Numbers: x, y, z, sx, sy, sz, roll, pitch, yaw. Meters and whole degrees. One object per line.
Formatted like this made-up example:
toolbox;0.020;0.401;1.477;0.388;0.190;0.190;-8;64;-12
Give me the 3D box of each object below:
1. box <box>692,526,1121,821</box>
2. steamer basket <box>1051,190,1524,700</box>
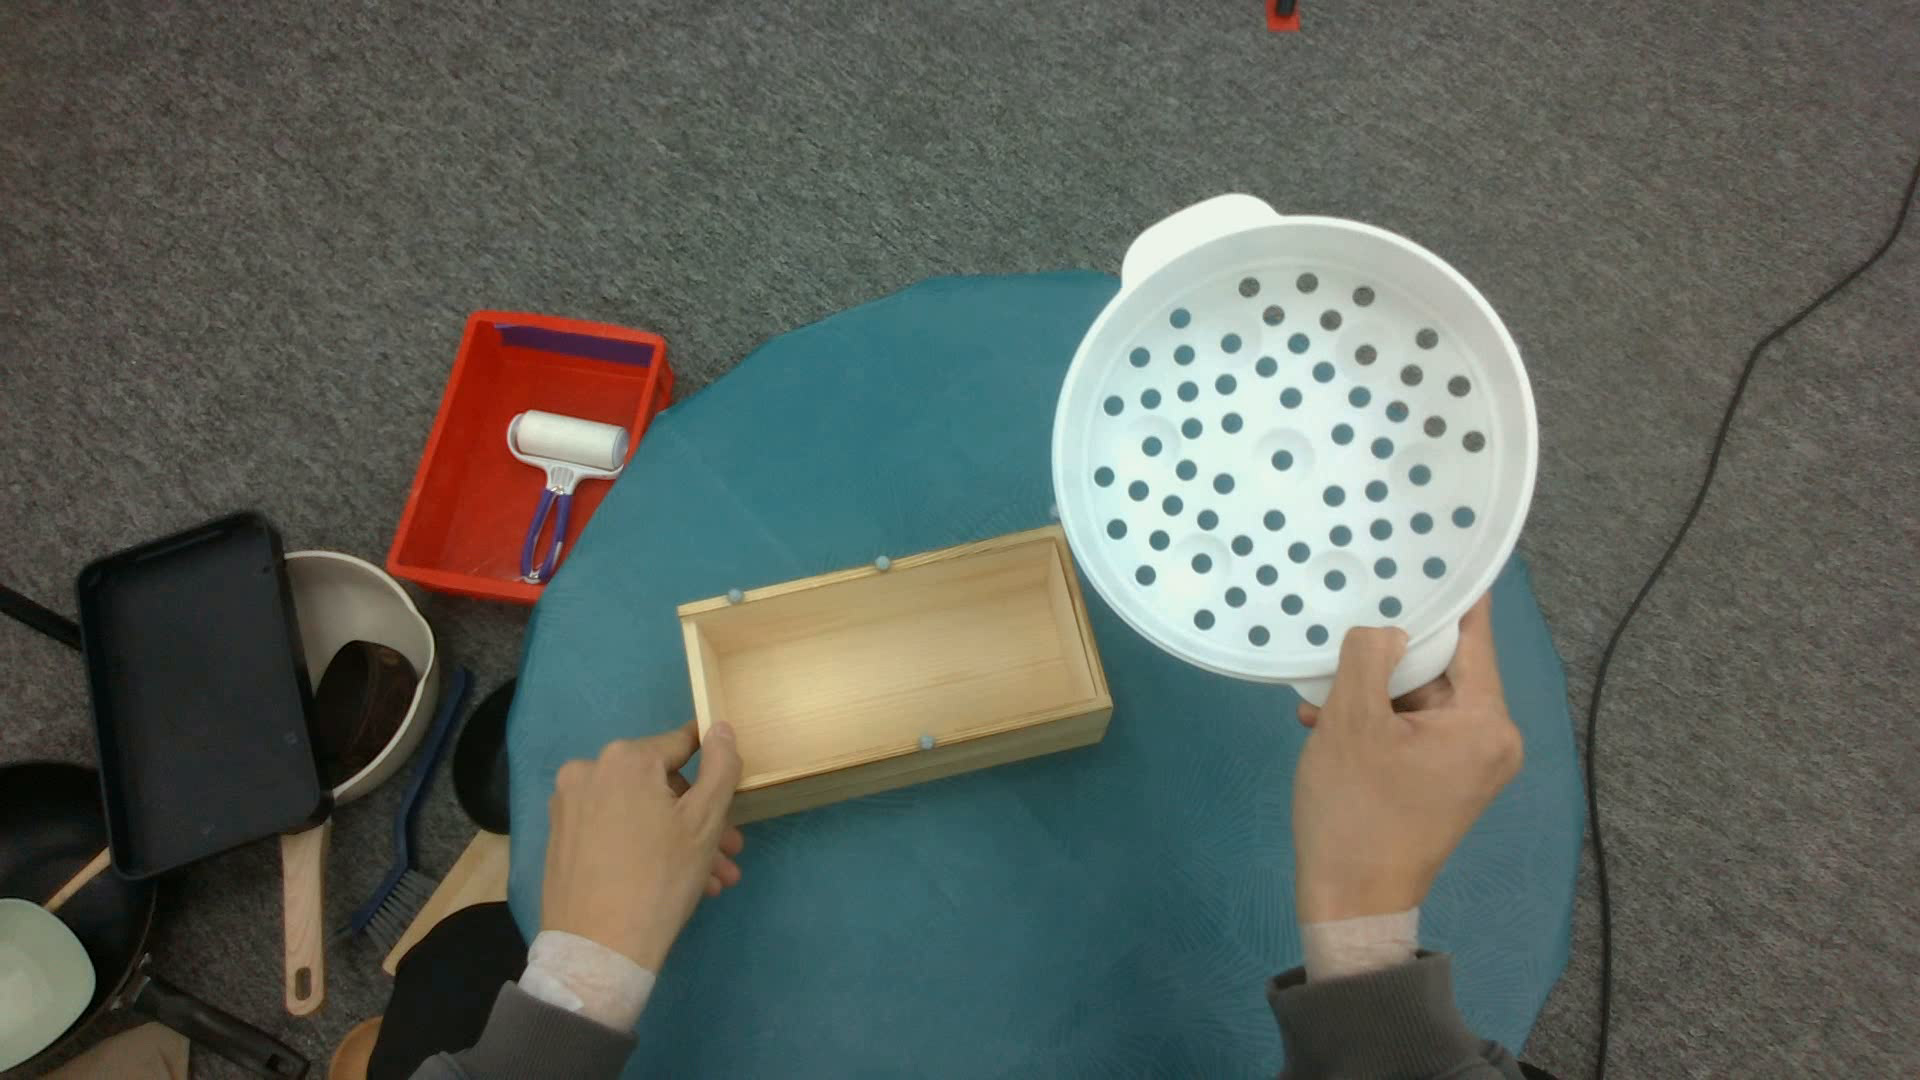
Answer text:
box;-0.030;0.075;0.761;0.211;0.080;0.108;-12;70;-4
steamer basket;0.146;-0.043;0.627;0.201;0.069;0.230;-24;84;13
